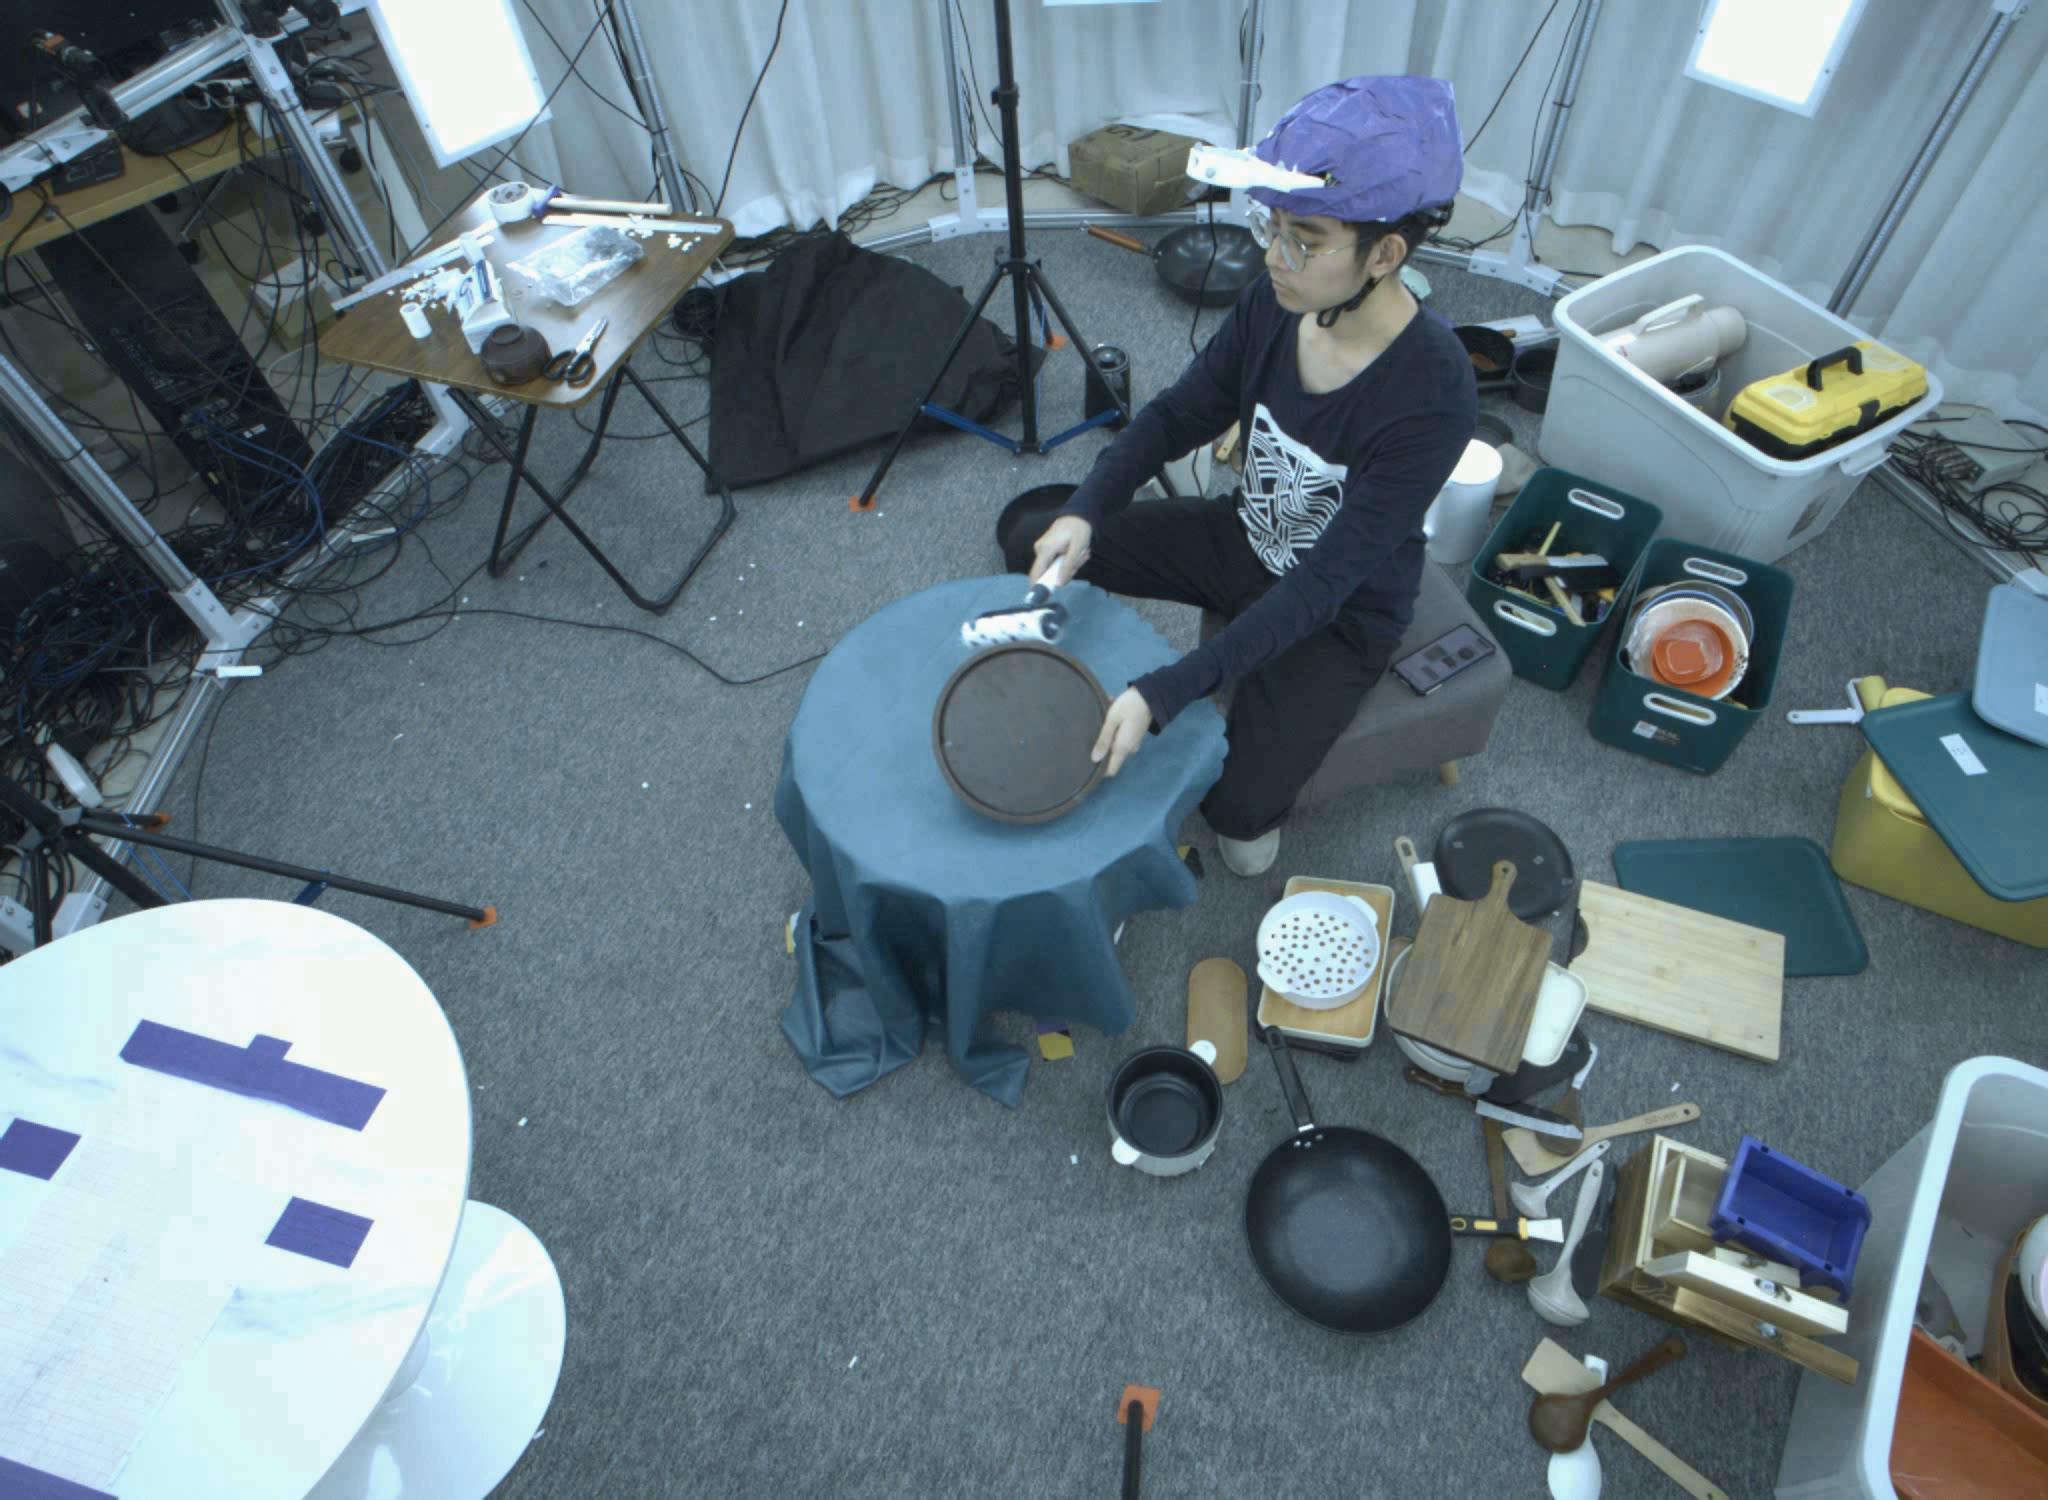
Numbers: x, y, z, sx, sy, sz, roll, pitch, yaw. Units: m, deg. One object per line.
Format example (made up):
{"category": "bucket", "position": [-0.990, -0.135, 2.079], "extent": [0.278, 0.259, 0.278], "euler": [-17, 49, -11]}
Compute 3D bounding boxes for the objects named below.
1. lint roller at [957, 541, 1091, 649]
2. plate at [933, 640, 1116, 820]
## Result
{"category": "lint roller", "position": [0.023, -0.242, 1.816], "extent": [0.173, 0.051, 0.248], "euler": [-6, 37, 47]}
{"category": "plate", "position": [0.000, -0.028, 1.708], "extent": [0.256, 0.029, 0.254], "euler": [1, 86, -5]}
